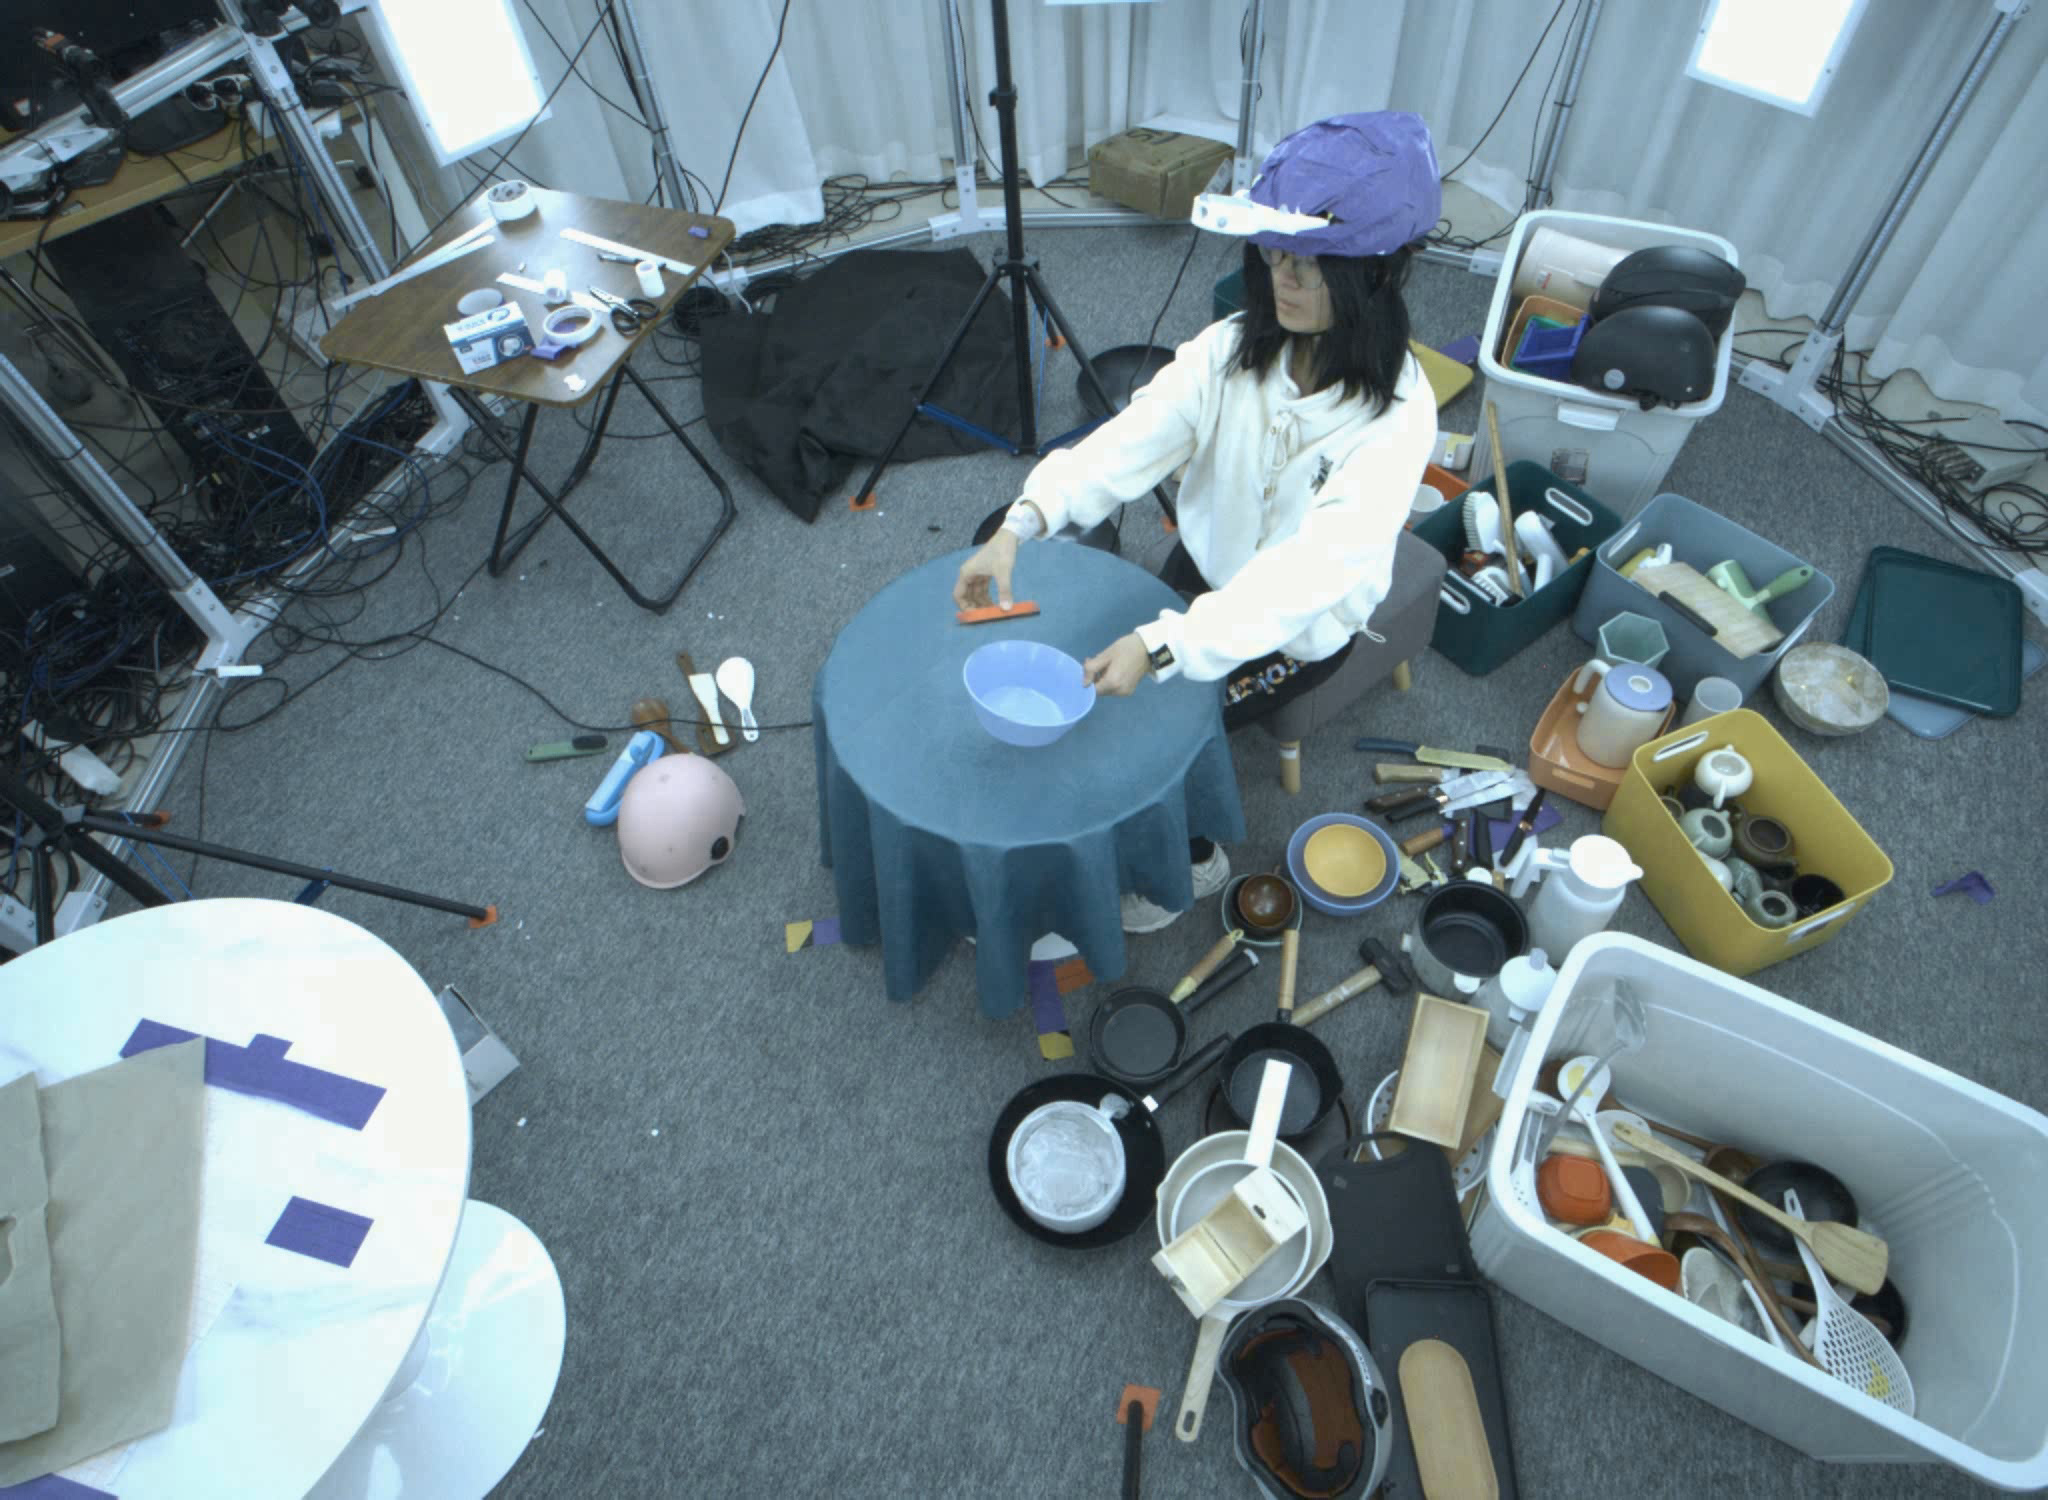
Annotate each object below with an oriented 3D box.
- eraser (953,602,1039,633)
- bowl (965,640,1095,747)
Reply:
[{"bbox_3d":[-0.039,-0.181,1.674,0.109,0.058,0.023,-13,95,-25],"label":"eraser"},{"bbox_3d":[0.002,-0.066,1.632,0.177,0.070,0.174,10,41,-8],"label":"bowl"}]
